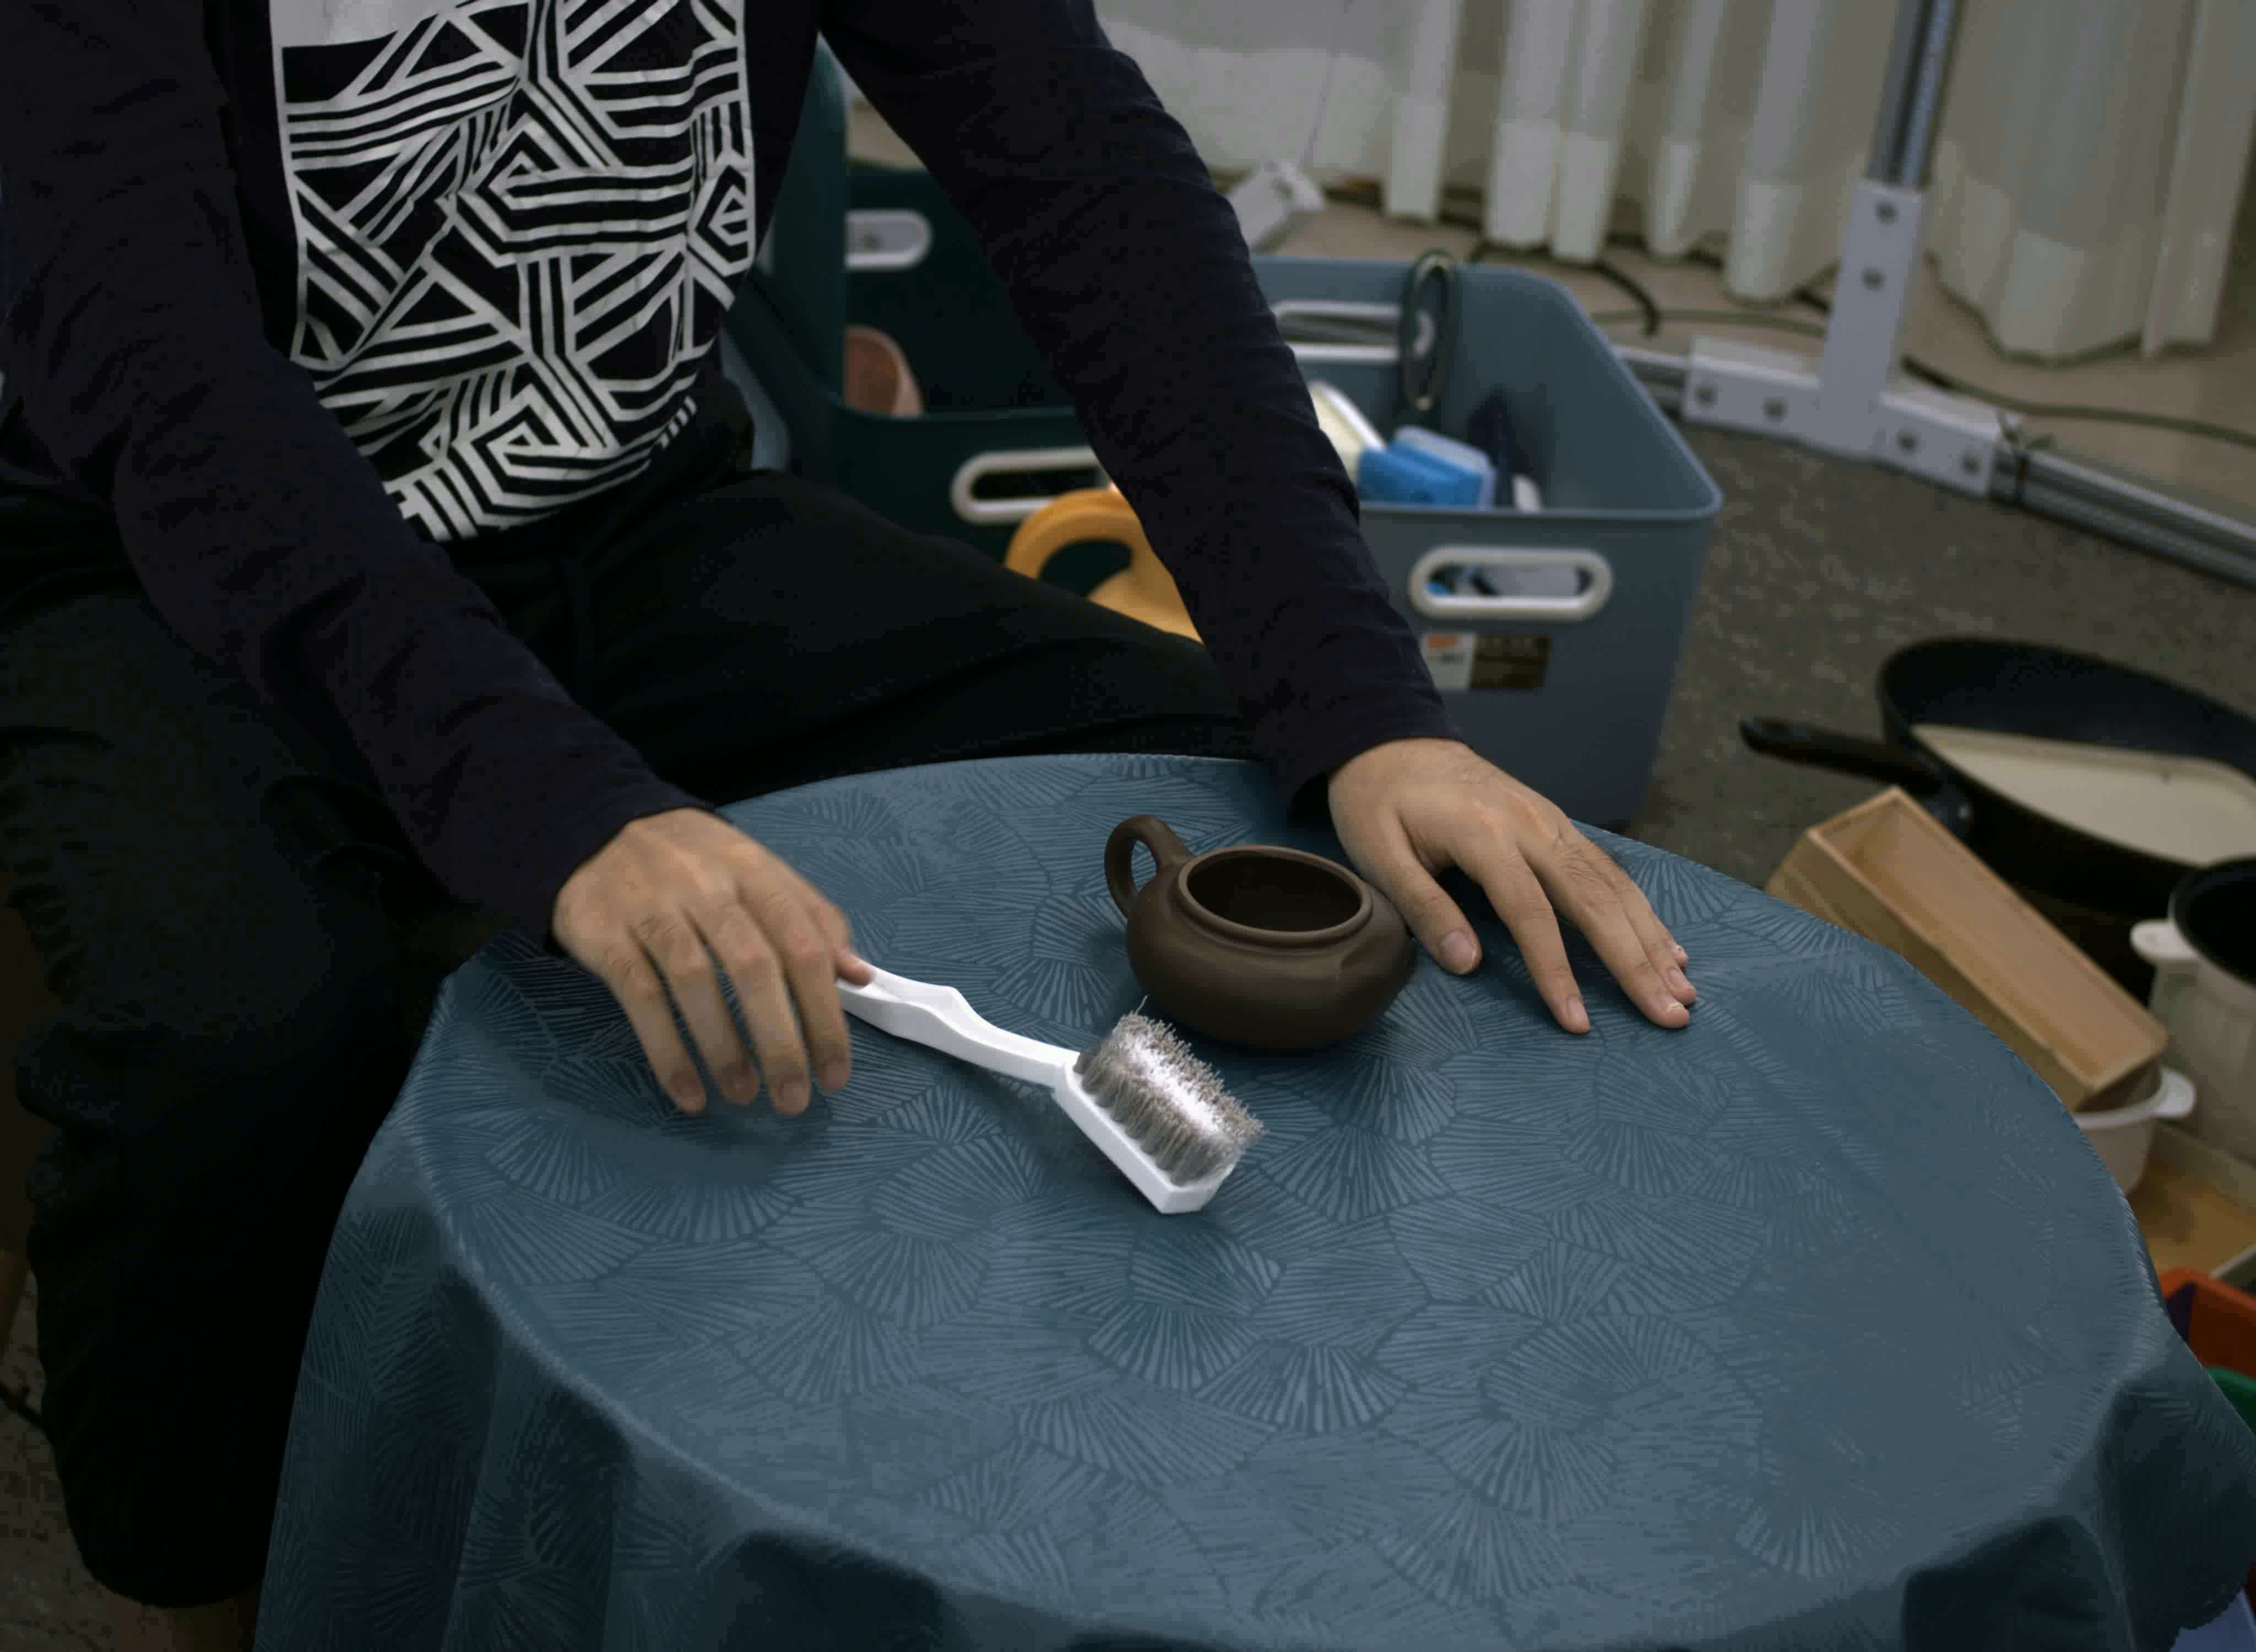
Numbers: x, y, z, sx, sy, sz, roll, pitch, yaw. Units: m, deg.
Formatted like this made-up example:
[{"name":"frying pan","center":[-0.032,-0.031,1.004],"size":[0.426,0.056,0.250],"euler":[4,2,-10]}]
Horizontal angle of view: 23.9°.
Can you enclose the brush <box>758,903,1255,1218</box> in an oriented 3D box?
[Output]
[{"name":"brush","center":[-0.048,0.064,1.858],"size":[0.034,0.050,0.245],"euler":[-20,38,-37]}]

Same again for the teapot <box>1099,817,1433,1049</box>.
[{"name":"teapot","center":[0.047,0.040,1.922],"size":[0.154,0.053,0.102],"euler":[26,32,33]}]
